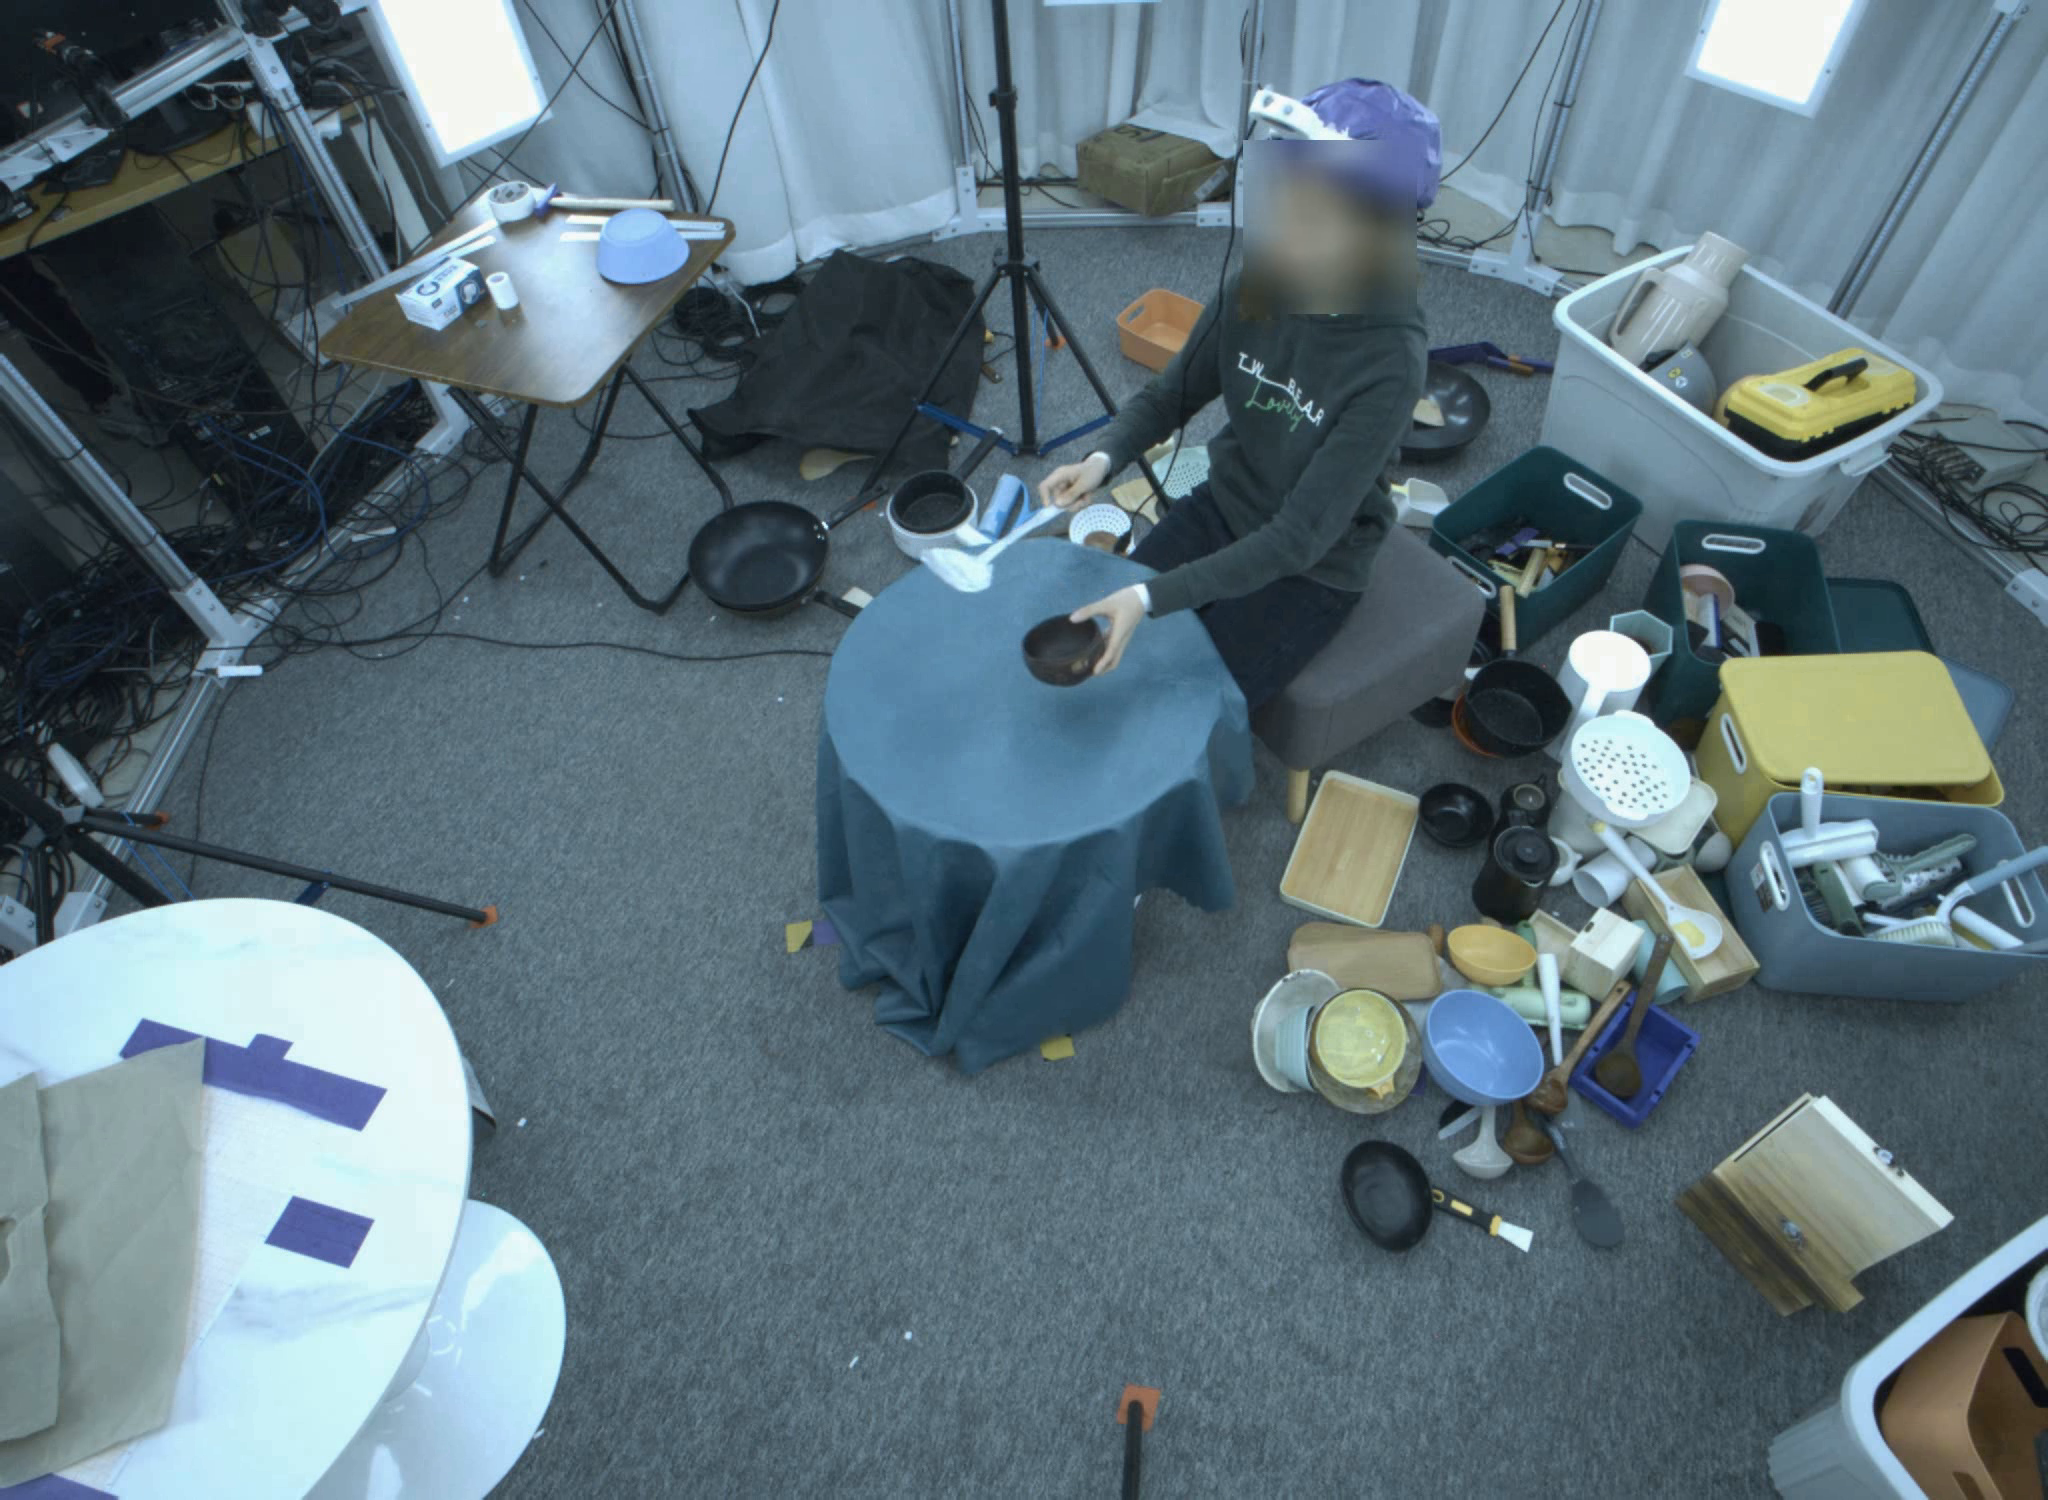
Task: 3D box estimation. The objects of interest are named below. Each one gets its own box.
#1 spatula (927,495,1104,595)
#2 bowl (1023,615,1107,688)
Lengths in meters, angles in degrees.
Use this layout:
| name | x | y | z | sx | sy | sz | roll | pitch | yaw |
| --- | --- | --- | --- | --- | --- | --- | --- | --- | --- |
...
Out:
| name | x | y | z | sx | sy | sz | roll | pitch | yaw |
| --- | --- | --- | --- | --- | --- | --- | --- | --- | --- |
| spatula | 0.003 | -0.316 | 1.796 | 0.097 | 0.045 | 0.368 | 41 | 54 | 15 |
| bowl | 0.062 | -0.132 | 1.755 | 0.117 | 0.071 | 0.117 | -9 | 40 | 9 |
